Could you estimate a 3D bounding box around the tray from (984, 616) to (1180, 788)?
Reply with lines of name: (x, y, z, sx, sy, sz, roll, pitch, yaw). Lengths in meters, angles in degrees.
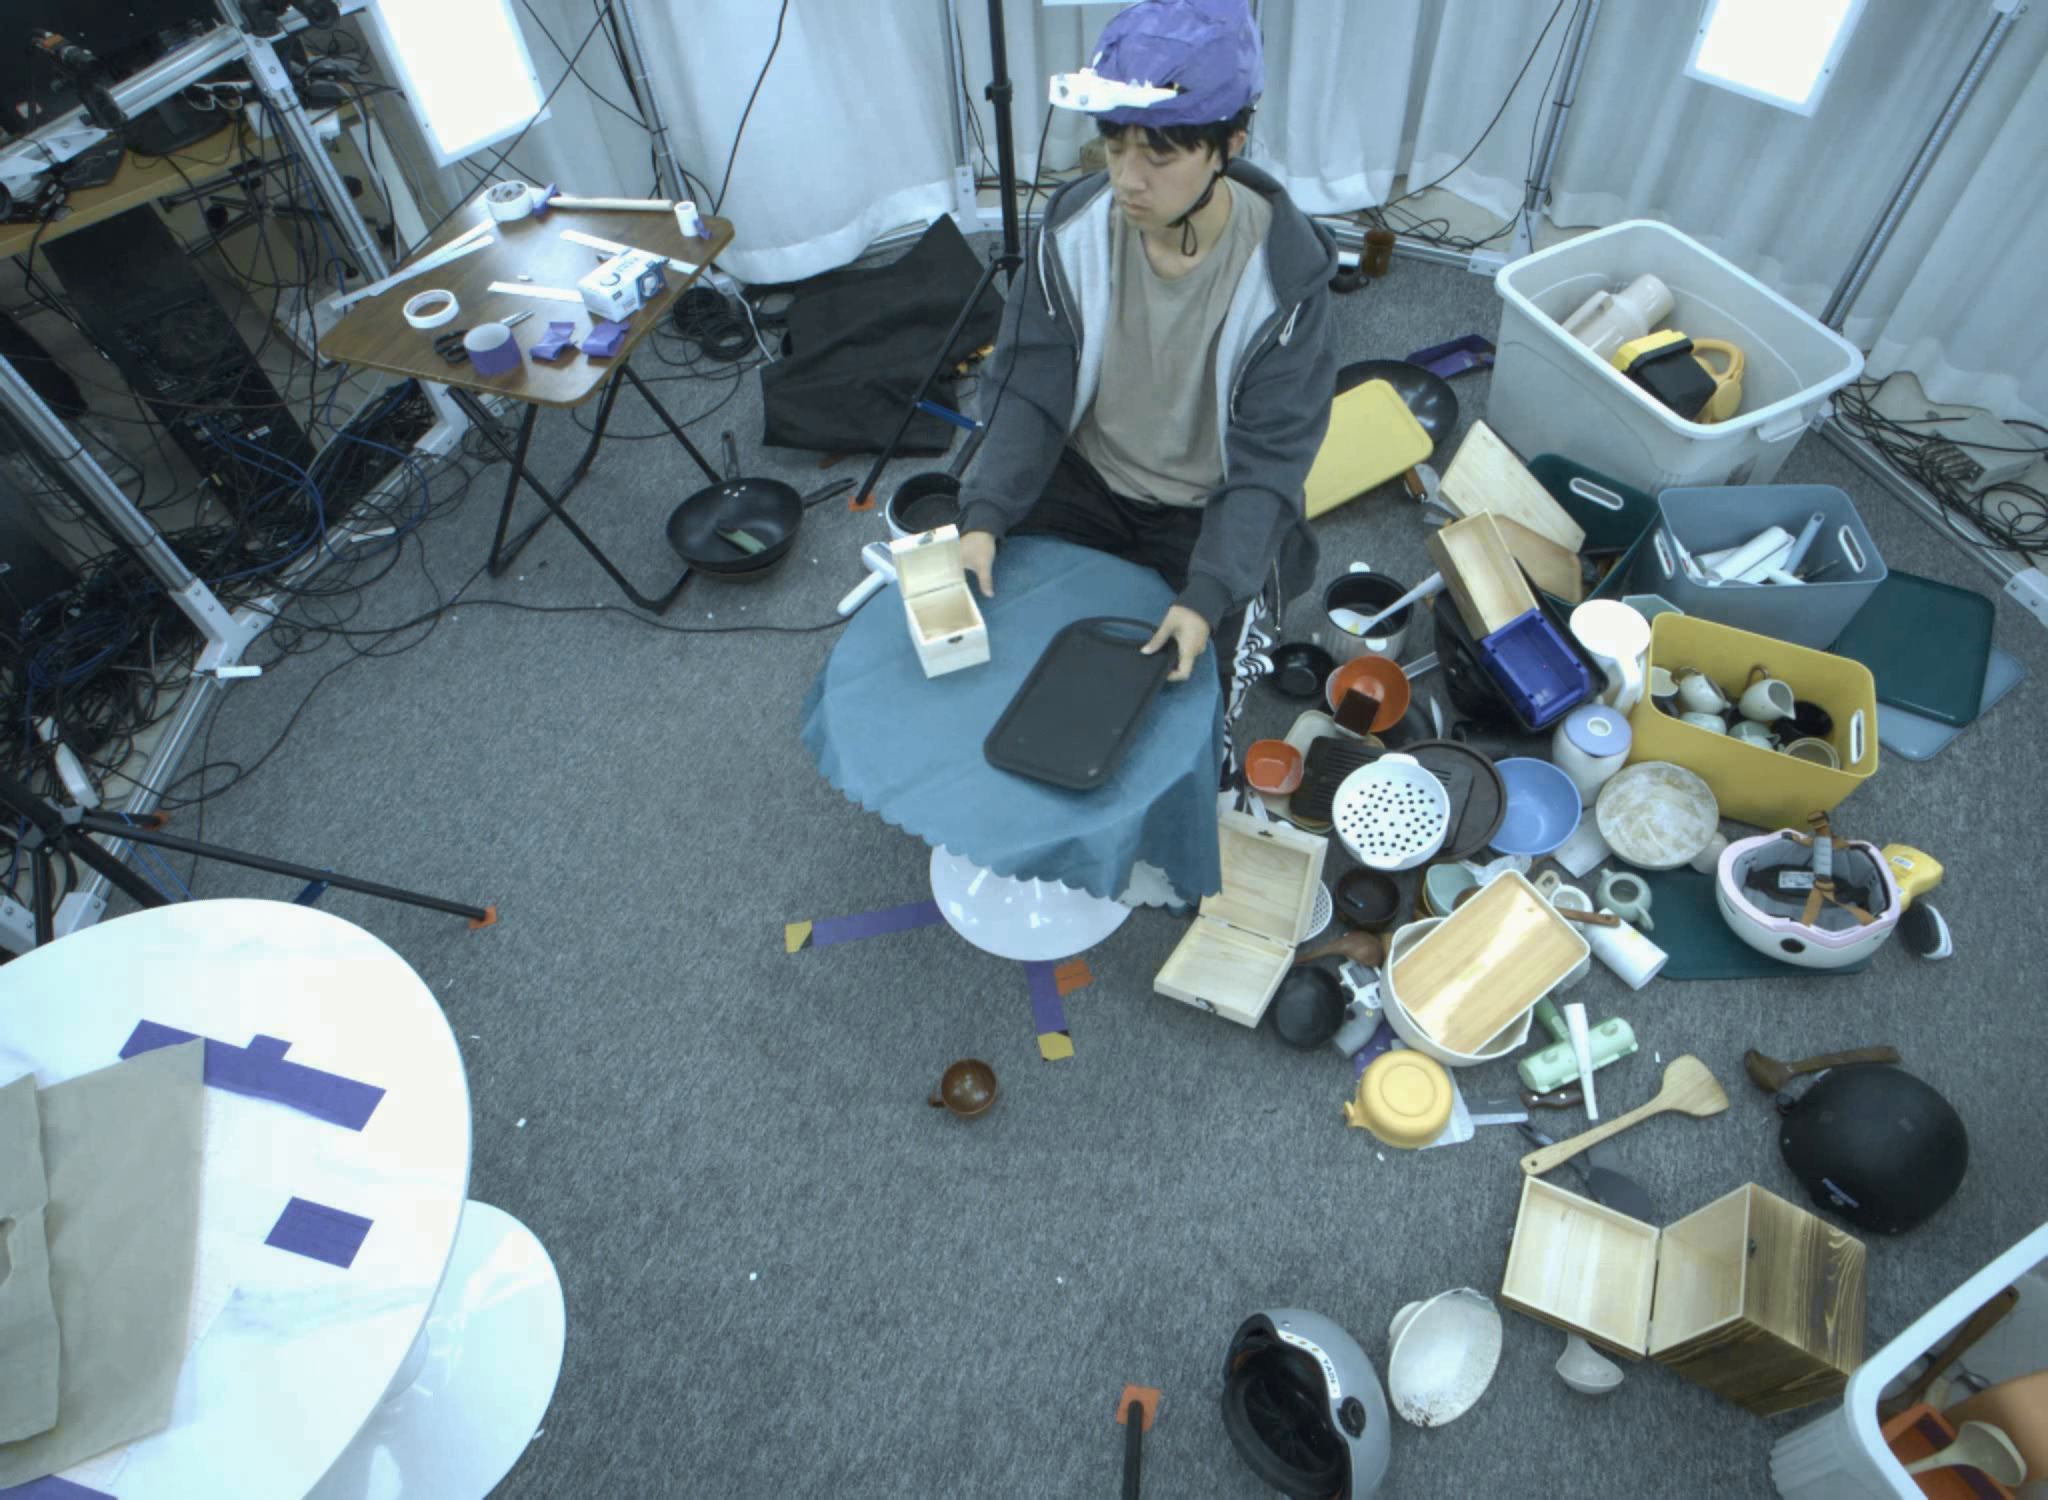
tray: (0.090, -0.084, 1.818, 0.207, 0.010, 0.326, 17, 57, 26)

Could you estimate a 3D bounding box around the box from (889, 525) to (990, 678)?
box: (-0.126, -0.222, 1.838, 0.103, 0.186, 0.131, -19, 54, -9)
